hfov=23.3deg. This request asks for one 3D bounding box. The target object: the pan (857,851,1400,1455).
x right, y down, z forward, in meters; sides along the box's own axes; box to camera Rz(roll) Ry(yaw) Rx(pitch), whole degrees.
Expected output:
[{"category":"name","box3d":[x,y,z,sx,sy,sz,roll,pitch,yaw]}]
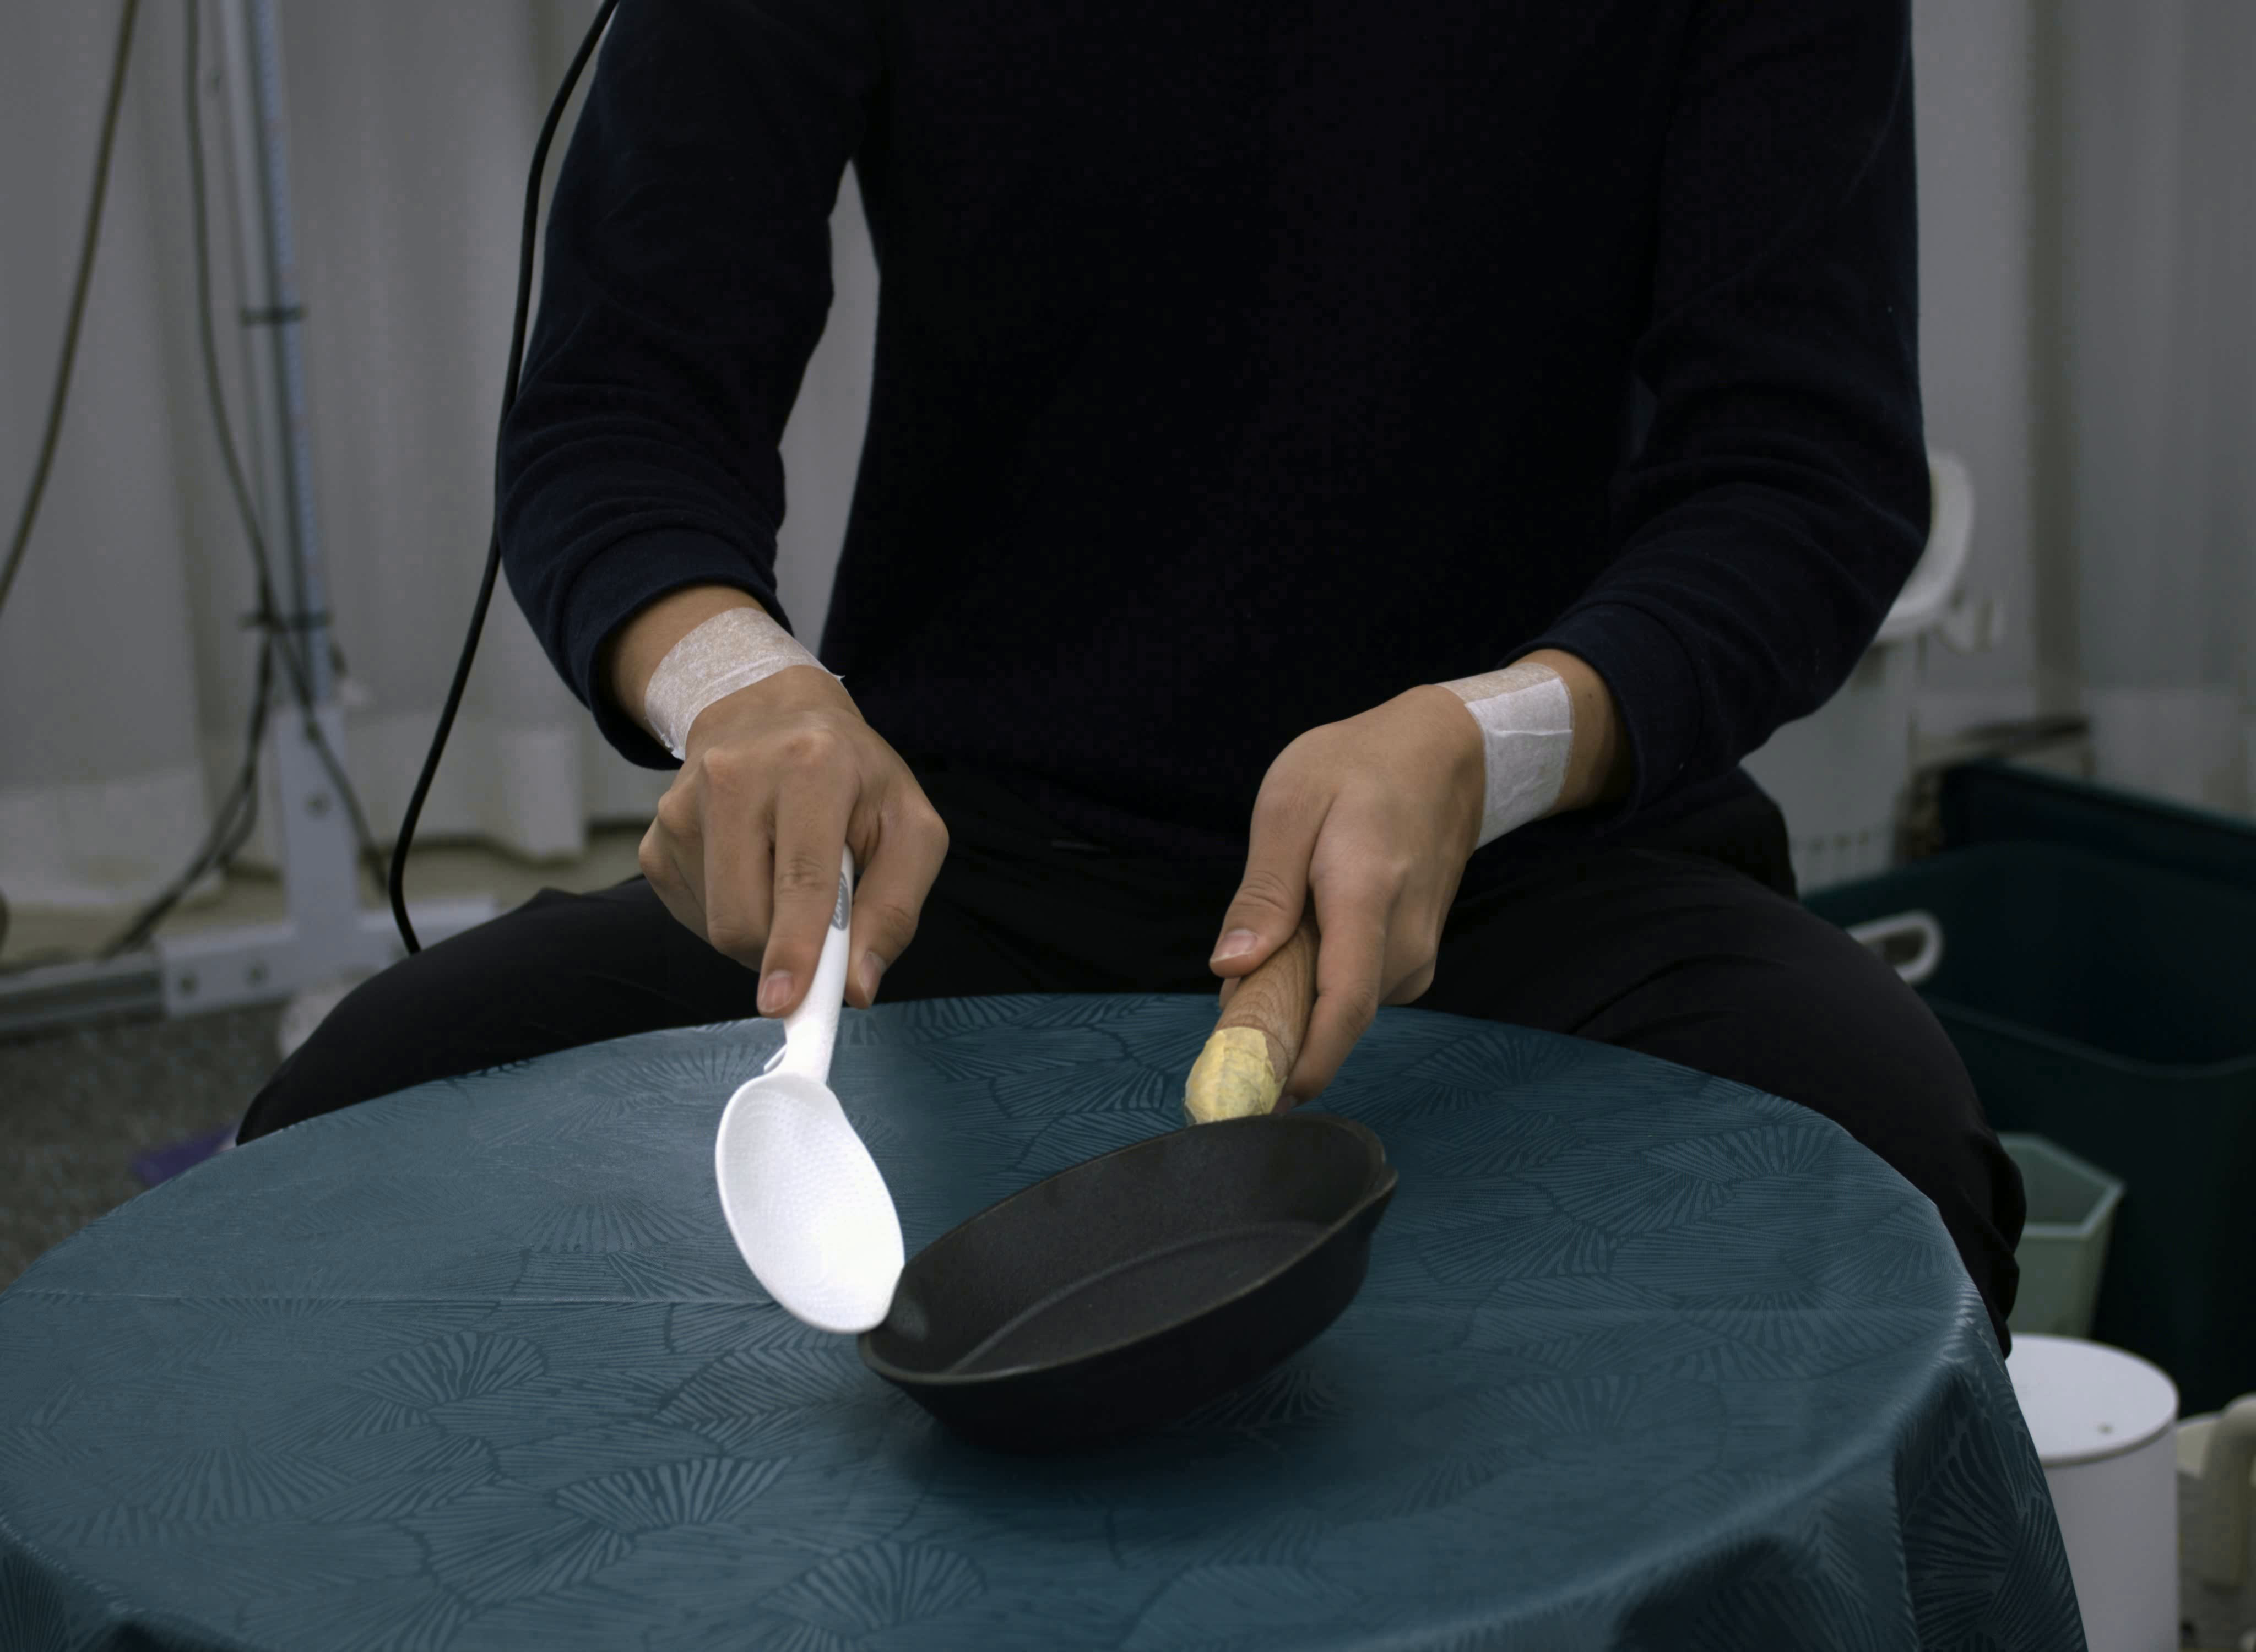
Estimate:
[{"category":"pan","box3d":[0.027,0.092,1.601,0.168,0.049,0.326,-14,18,24]}]

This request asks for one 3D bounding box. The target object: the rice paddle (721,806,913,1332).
[{"category":"rice paddle","box3d":[-0.092,0.070,1.596,0.068,0.029,0.208,31,30,-27]}]
